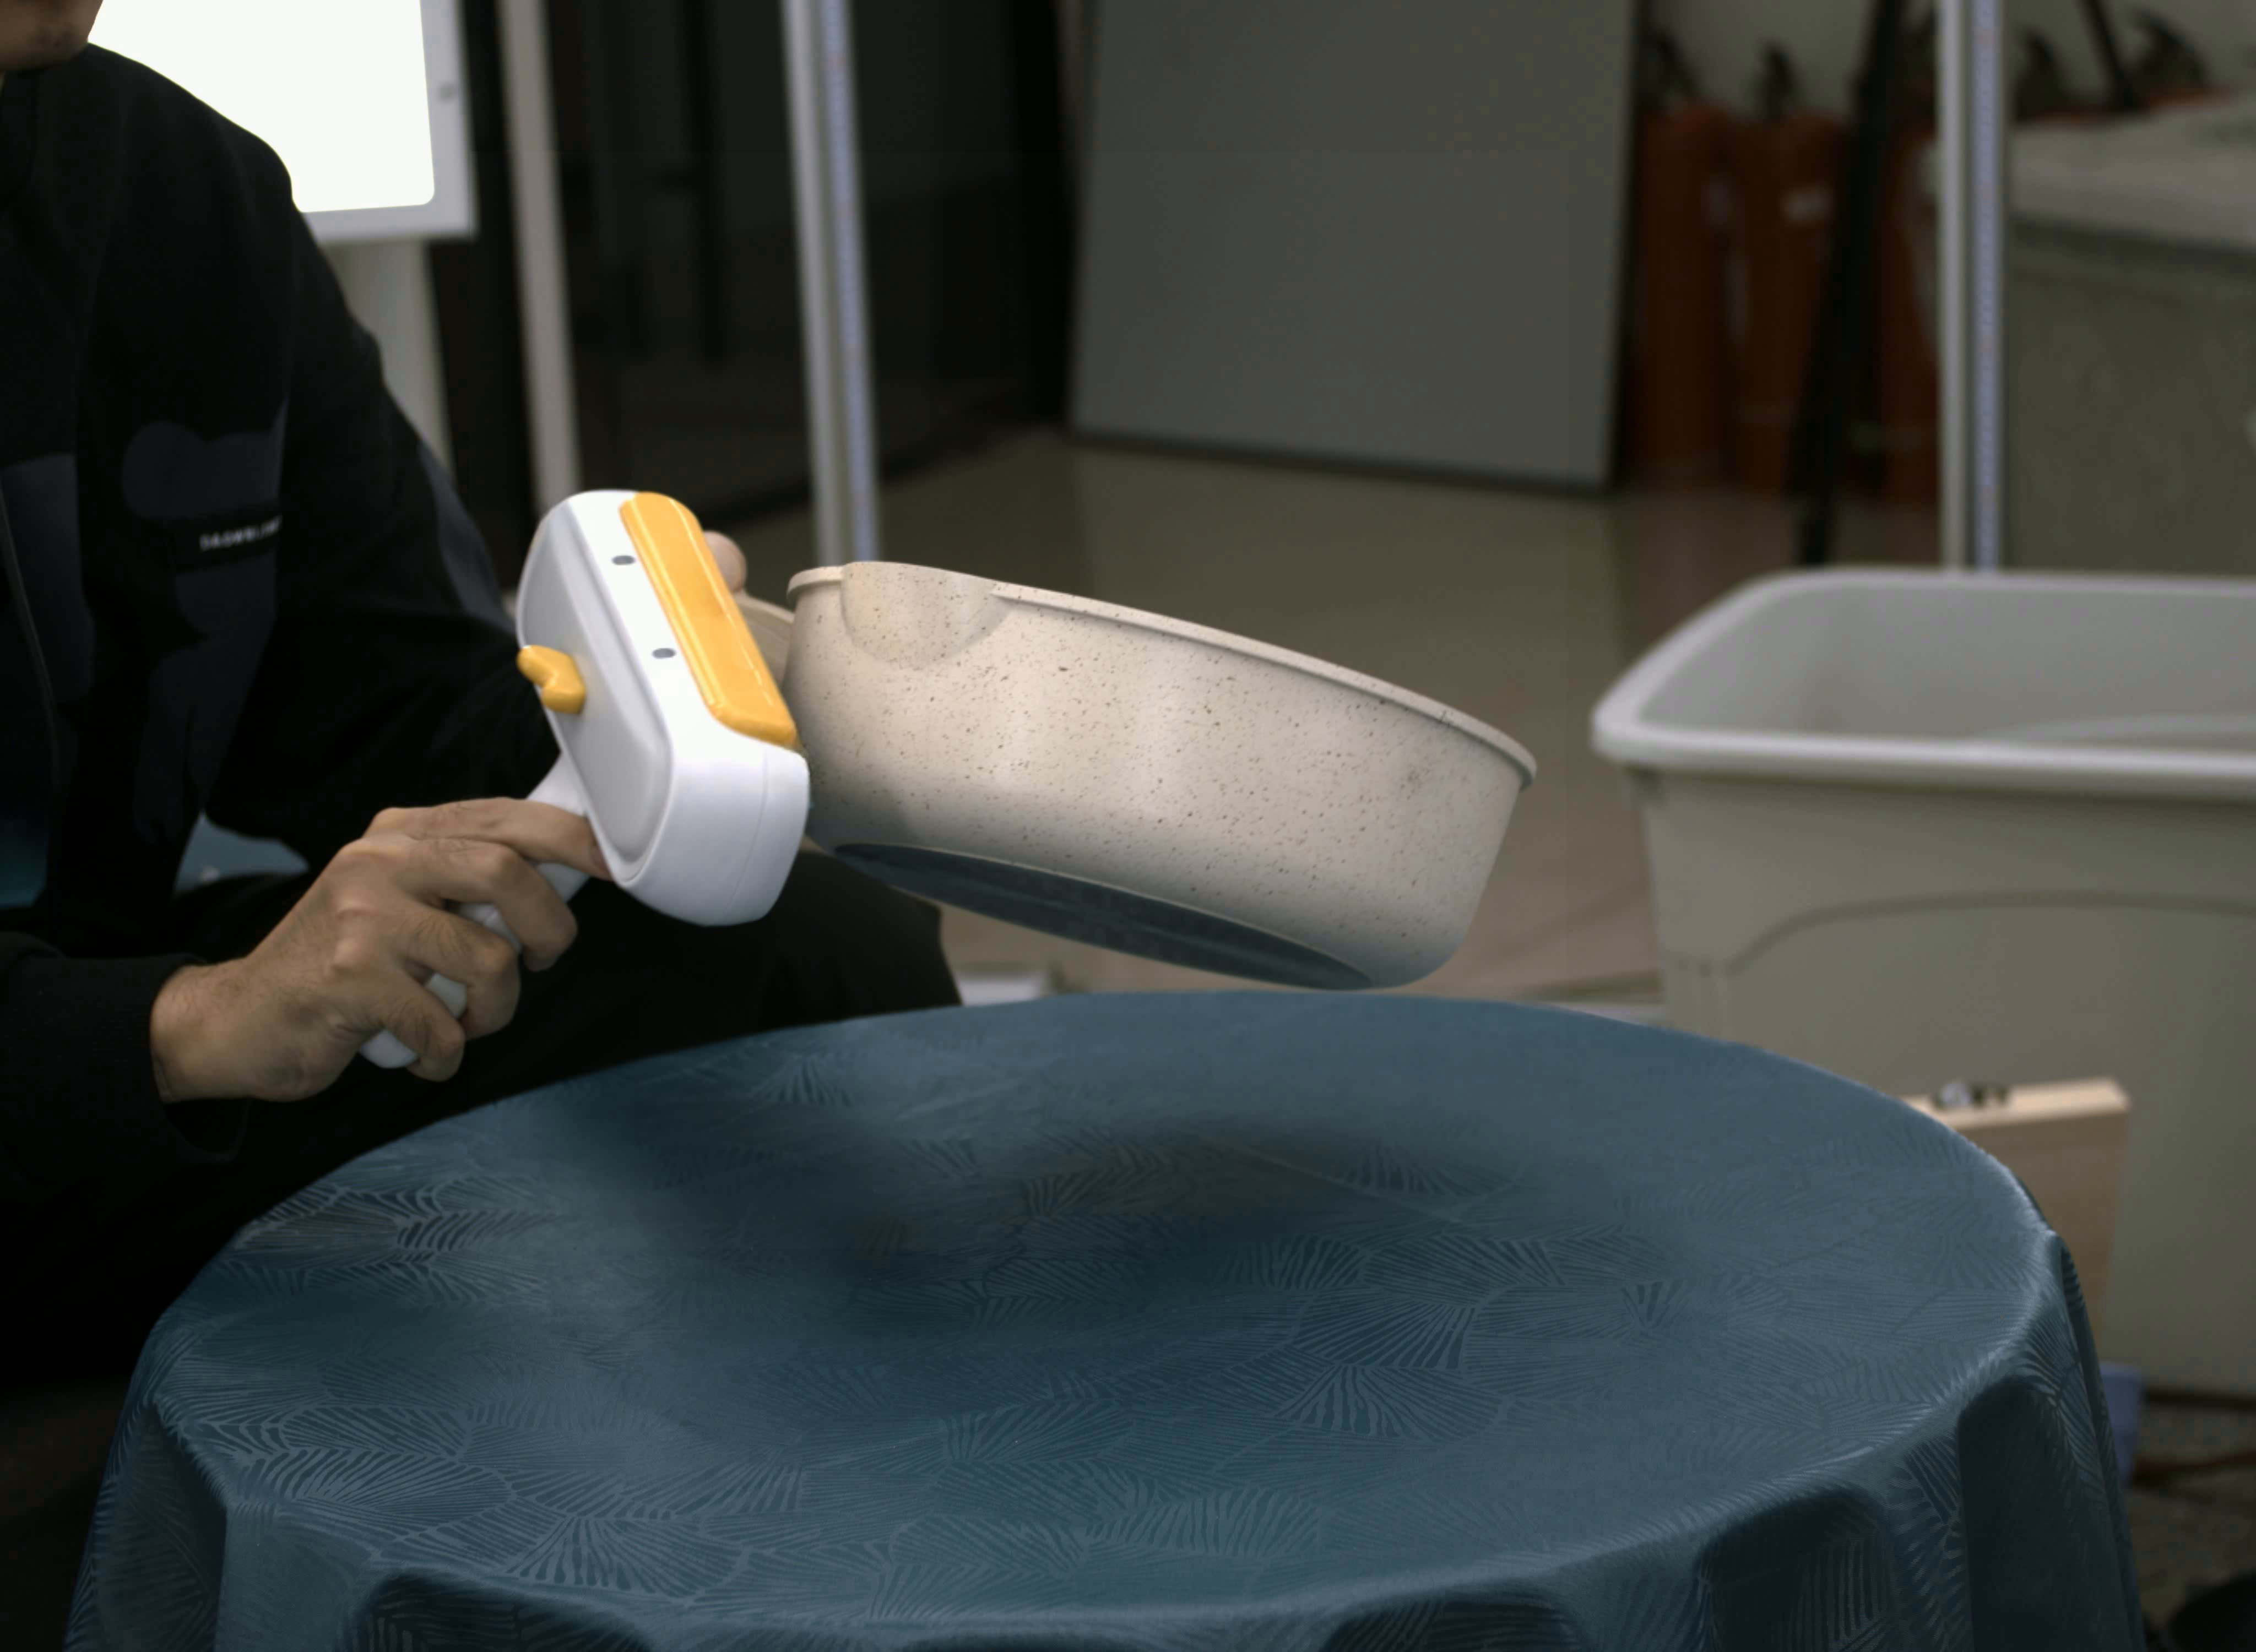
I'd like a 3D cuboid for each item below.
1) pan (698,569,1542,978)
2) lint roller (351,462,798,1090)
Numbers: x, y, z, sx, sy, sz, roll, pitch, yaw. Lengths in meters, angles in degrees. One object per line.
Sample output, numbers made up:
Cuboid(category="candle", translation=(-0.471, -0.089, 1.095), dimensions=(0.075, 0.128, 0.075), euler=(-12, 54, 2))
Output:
Cuboid(category="pan", translation=(-0.062, -0.027, 1.807), dimensions=(0.438, 0.103, 0.258), euler=(7, -8, 42))
Cuboid(category="lint roller", translation=(-0.183, 0.002, 1.711), dimensions=(0.072, 0.194, 0.195), euler=(15, 24, -33))
